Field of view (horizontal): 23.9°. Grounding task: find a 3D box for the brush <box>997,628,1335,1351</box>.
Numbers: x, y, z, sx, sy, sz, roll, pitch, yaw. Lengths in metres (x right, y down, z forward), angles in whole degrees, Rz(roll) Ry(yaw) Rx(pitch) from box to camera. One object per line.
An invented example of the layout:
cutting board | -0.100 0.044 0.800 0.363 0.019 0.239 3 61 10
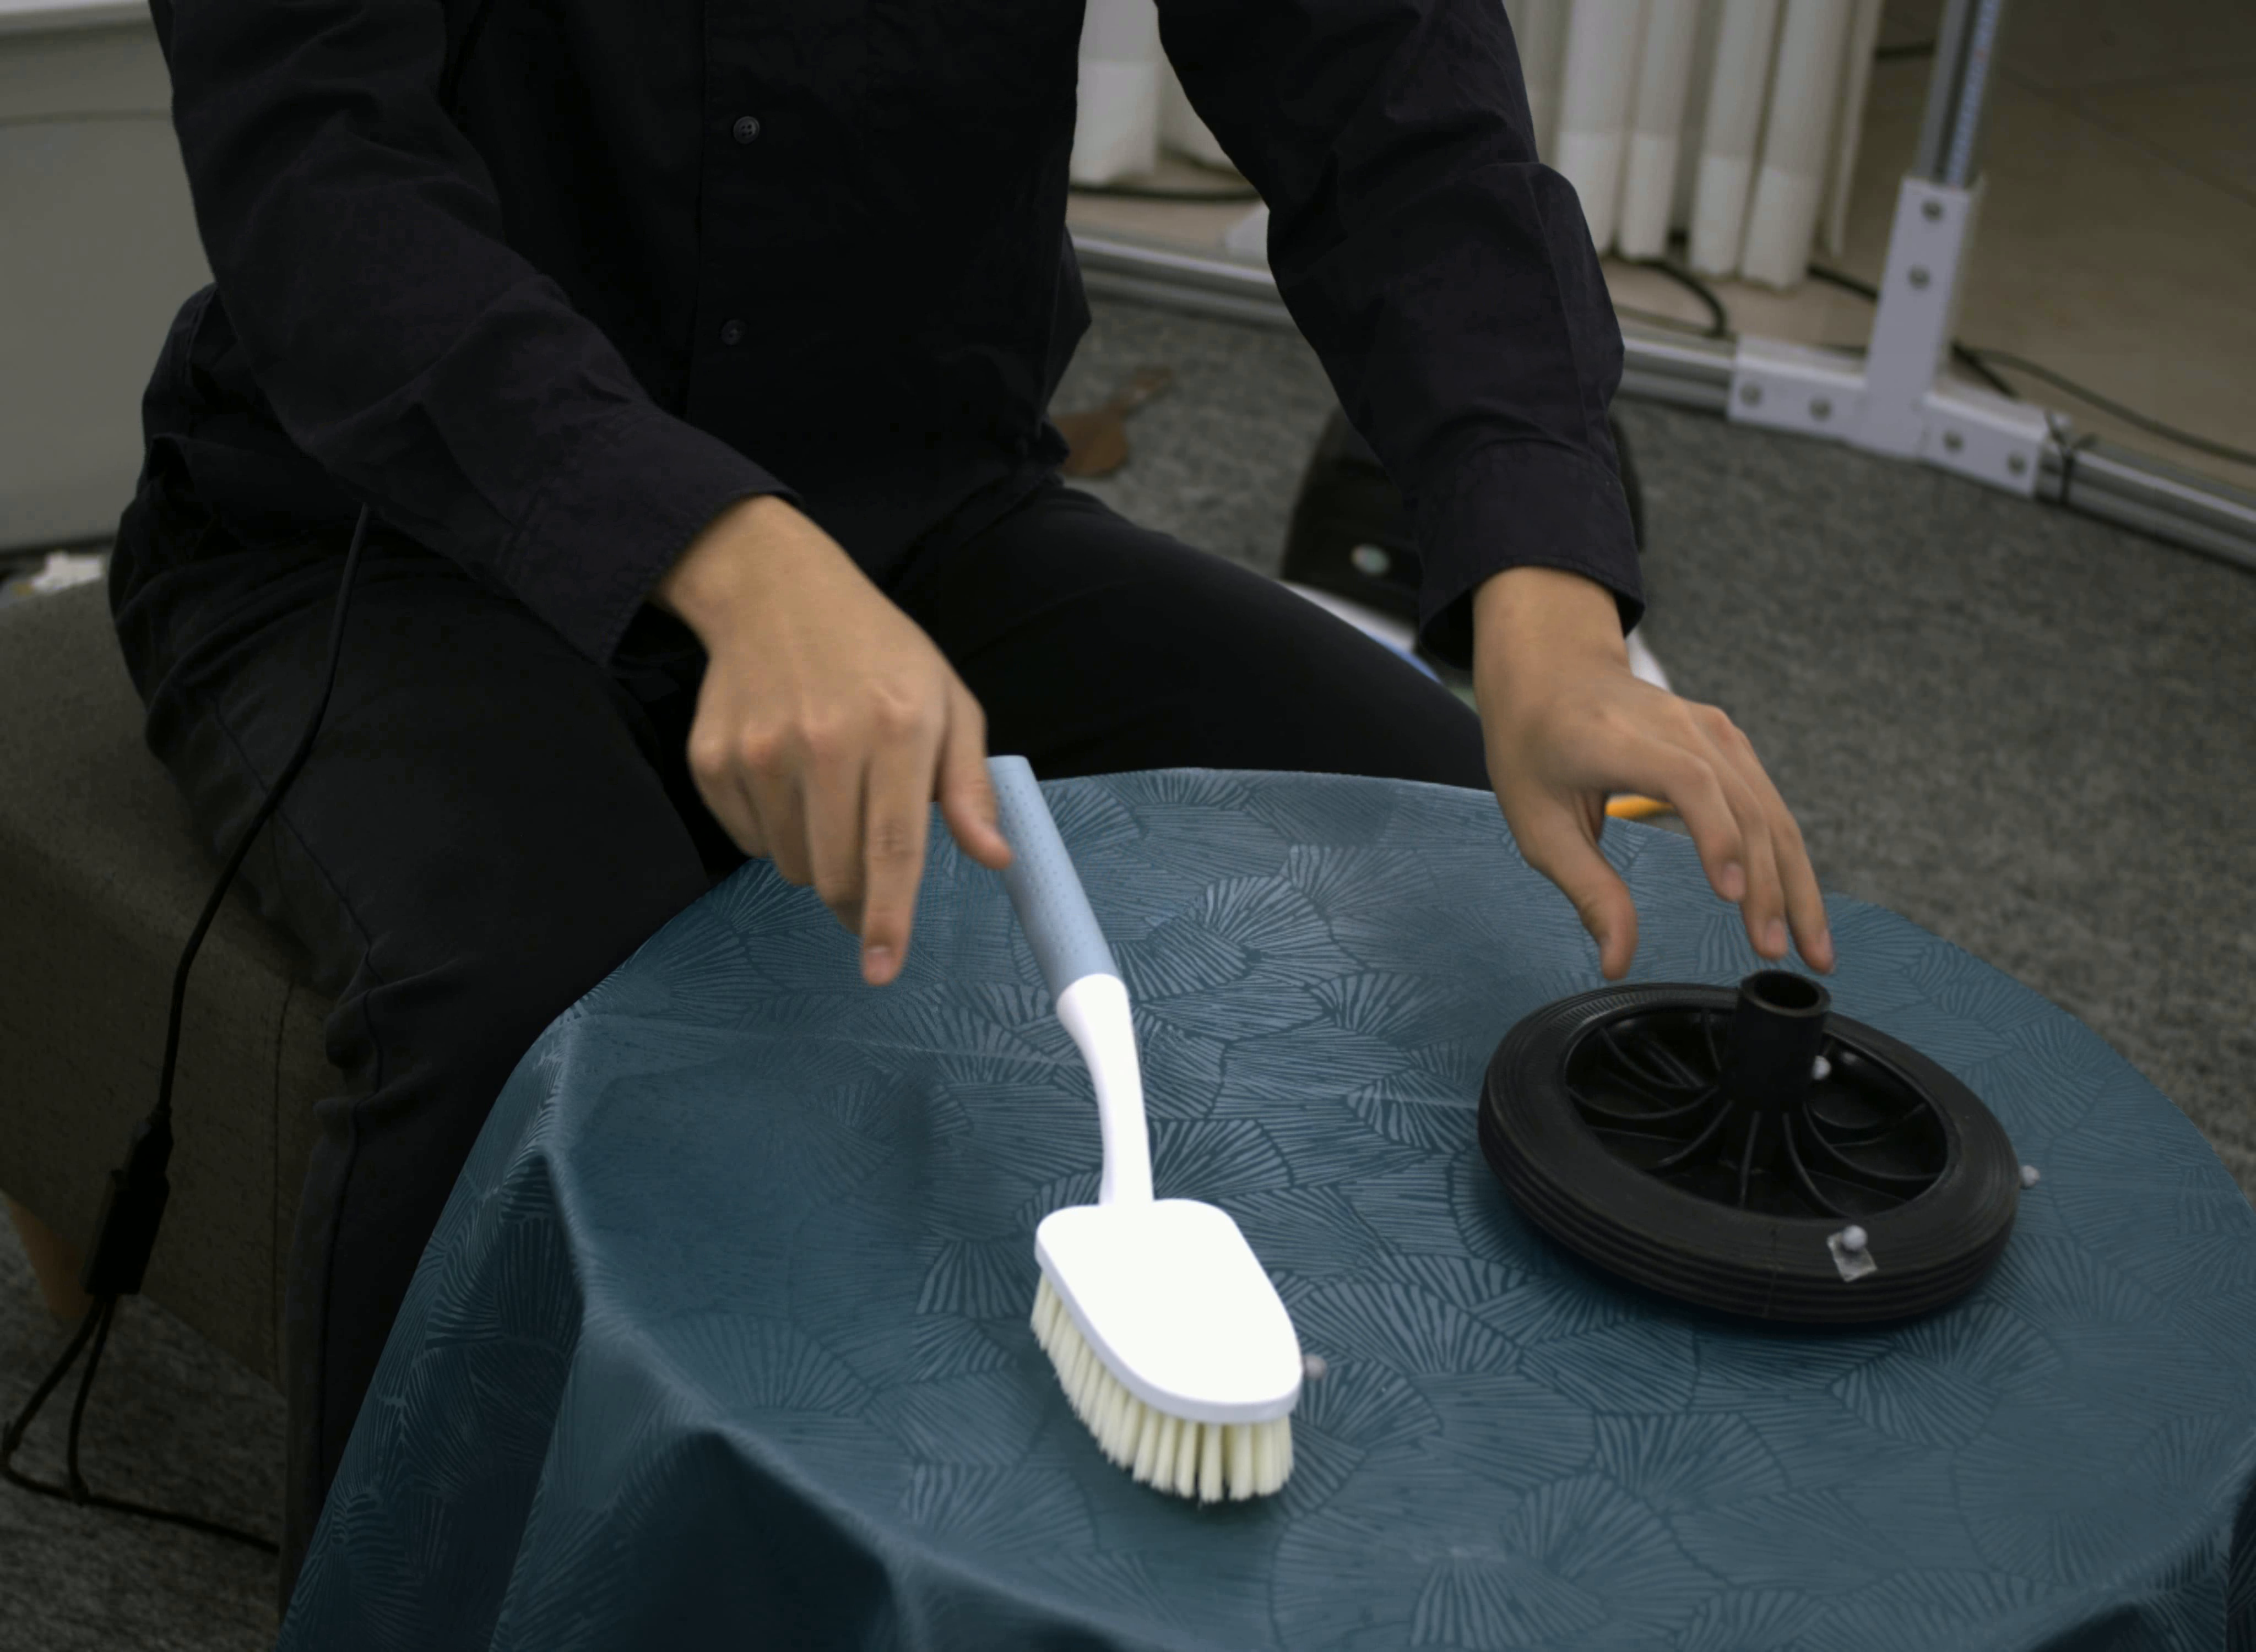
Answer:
brush | 0.006 0.062 1.777 0.082 0.084 0.328 32 23 -38

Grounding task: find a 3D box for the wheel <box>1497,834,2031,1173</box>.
wheel | 0.226 0.044 1.858 0.188 0.079 0.189 -10 34 -29
